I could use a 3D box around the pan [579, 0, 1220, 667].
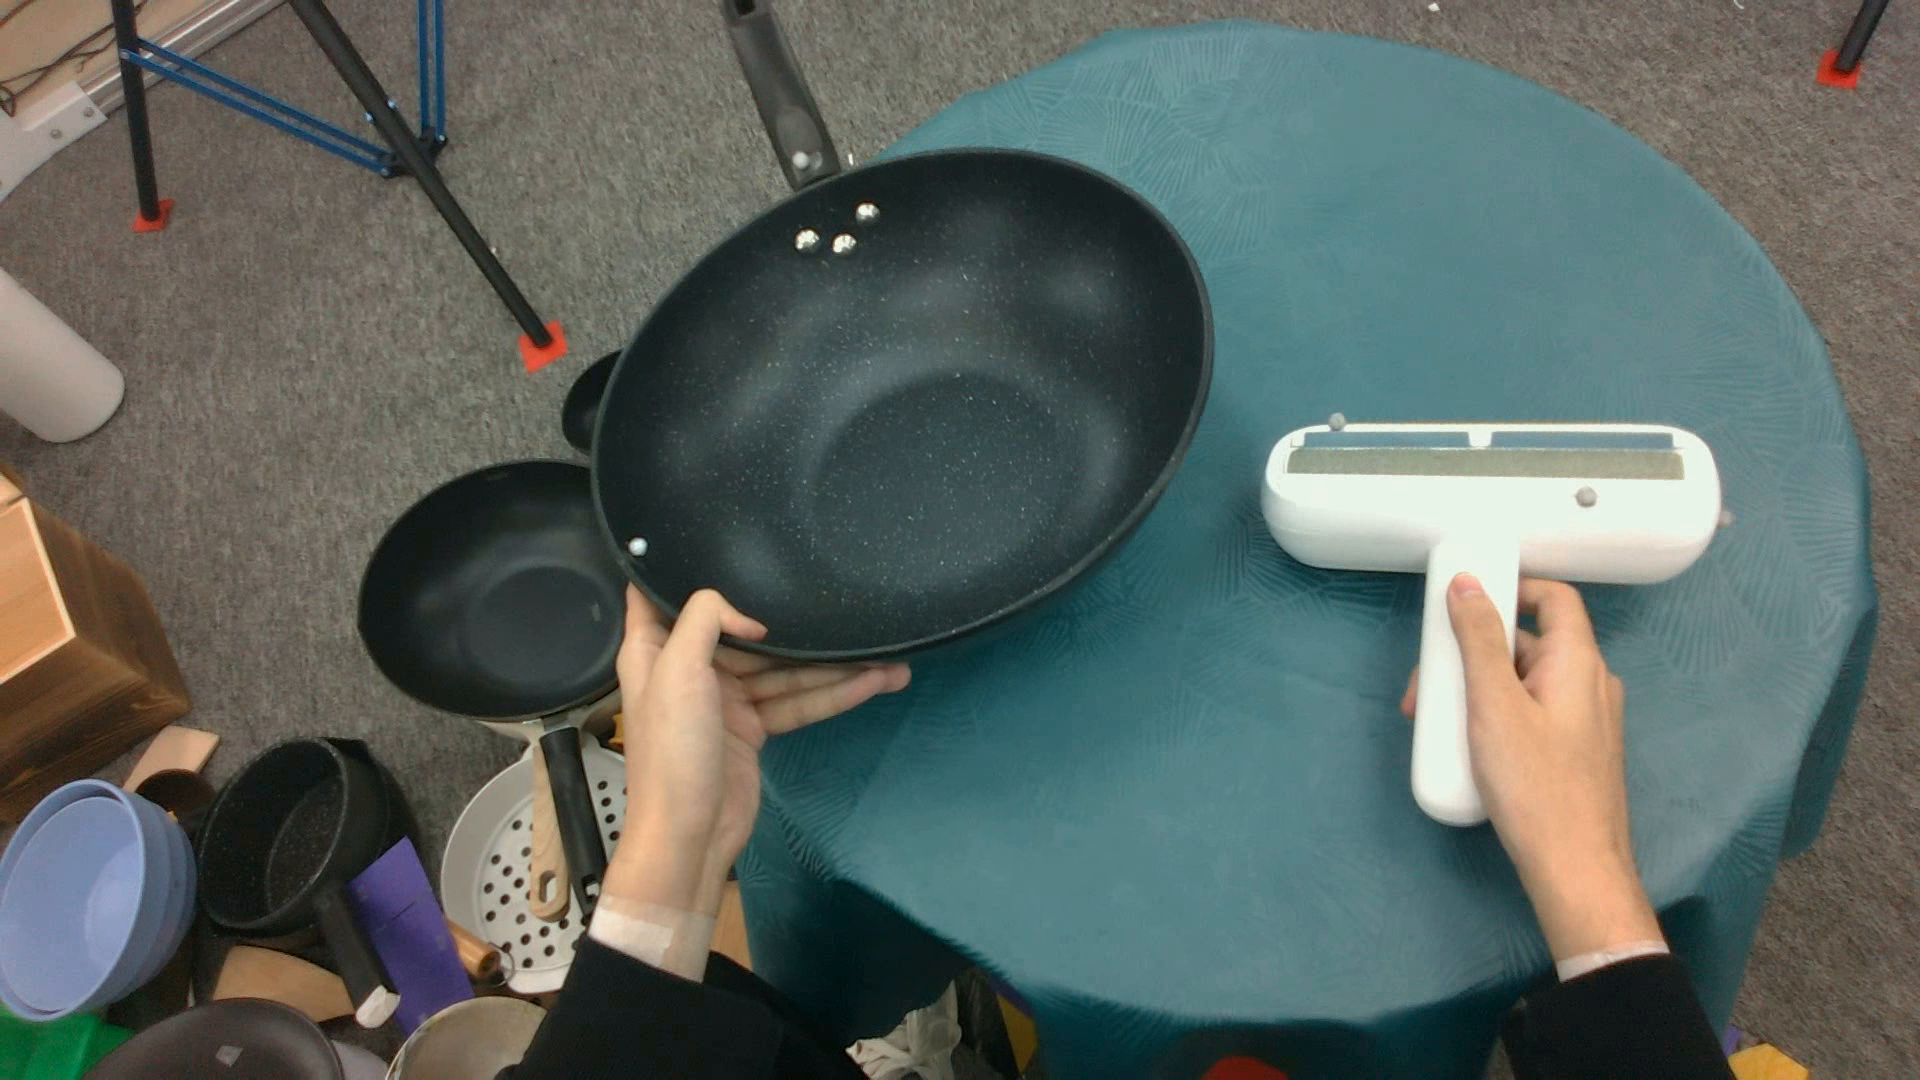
[{"bbox_3d":[-0.052,-0.128,0.726,0.310,0.111,0.478,-20,54,-1],"label":"pan"}]

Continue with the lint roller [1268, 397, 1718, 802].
[{"bbox_3d":[0.221,0.021,0.607,0.192,0.074,0.193,11,54,19],"label":"lint roller"}]
